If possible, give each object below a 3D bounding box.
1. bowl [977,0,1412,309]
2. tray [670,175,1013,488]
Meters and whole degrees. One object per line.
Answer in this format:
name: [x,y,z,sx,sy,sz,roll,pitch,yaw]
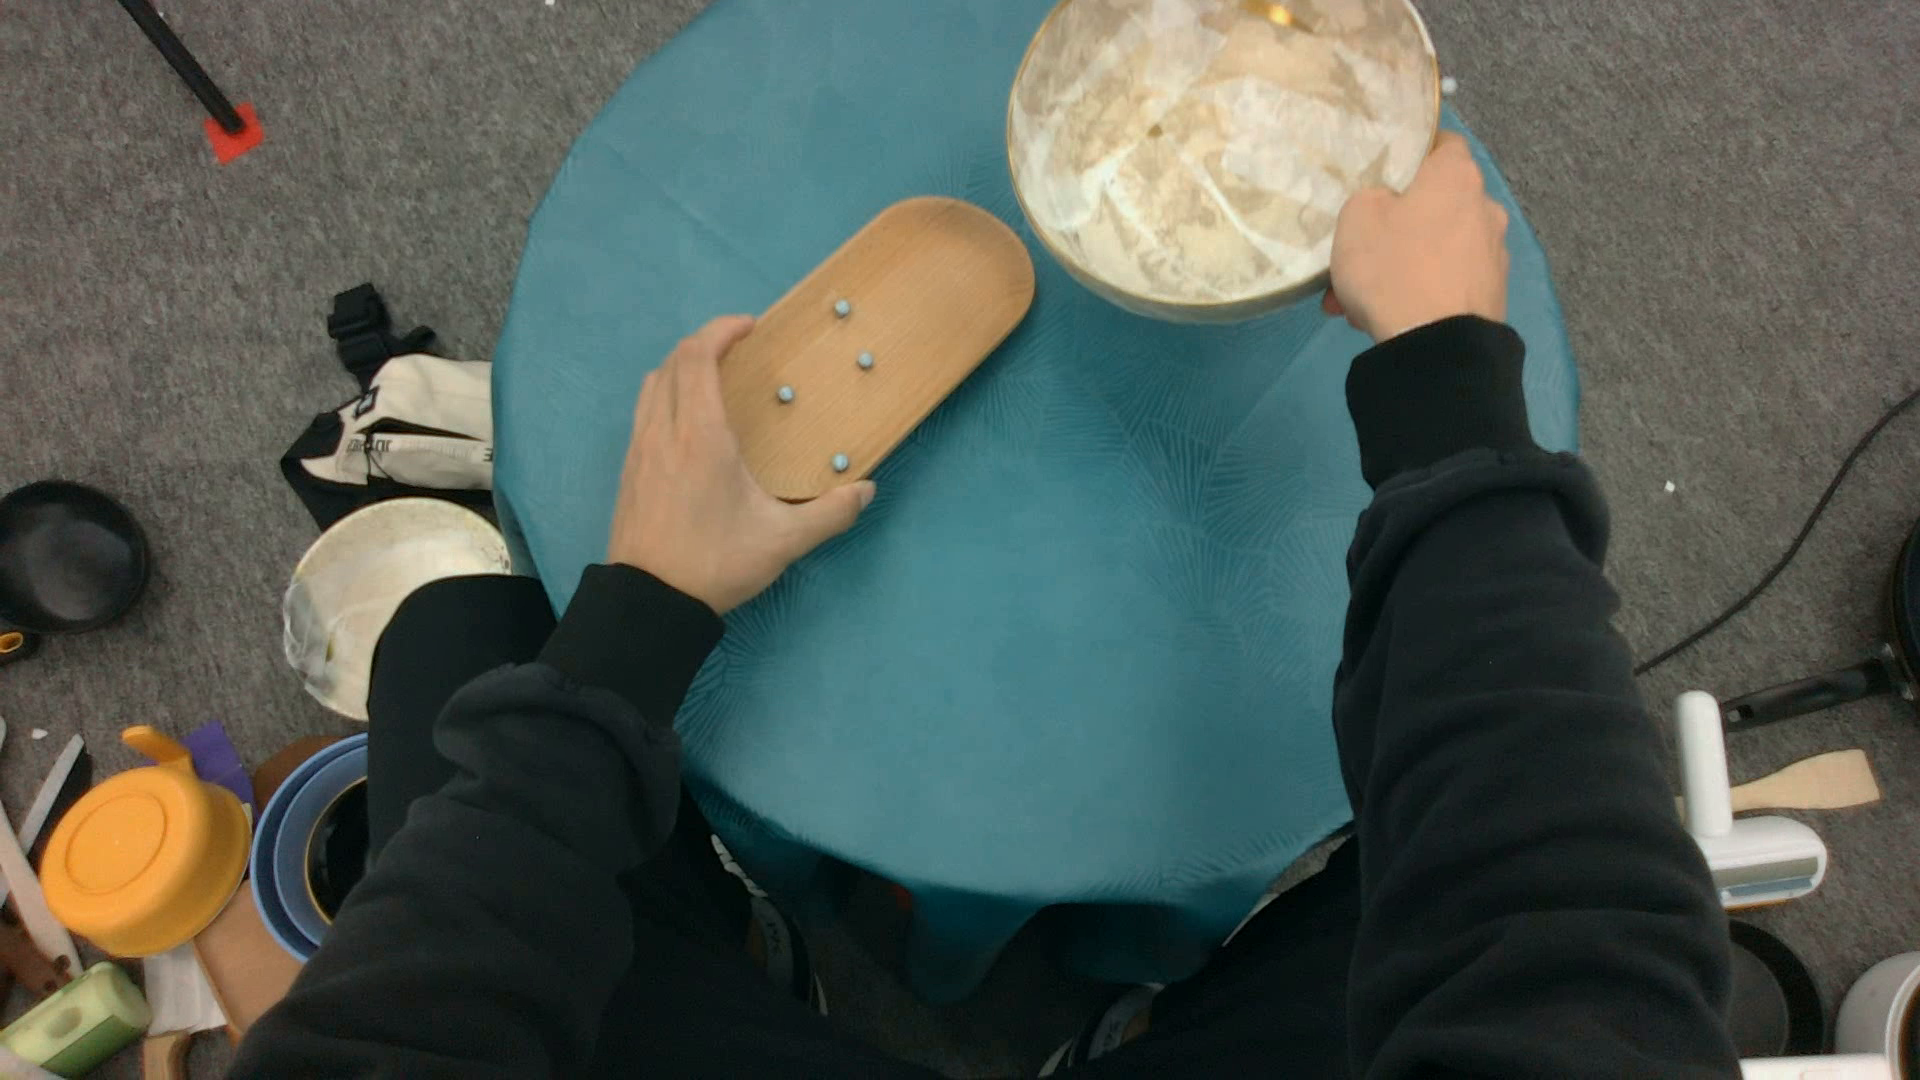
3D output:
bowl: [0.114,-0.199,0.689,0.214,0.094,0.215,-2,77,10]
tray: [-0.059,-0.115,0.733,0.101,0.020,0.232,38,60,6]
